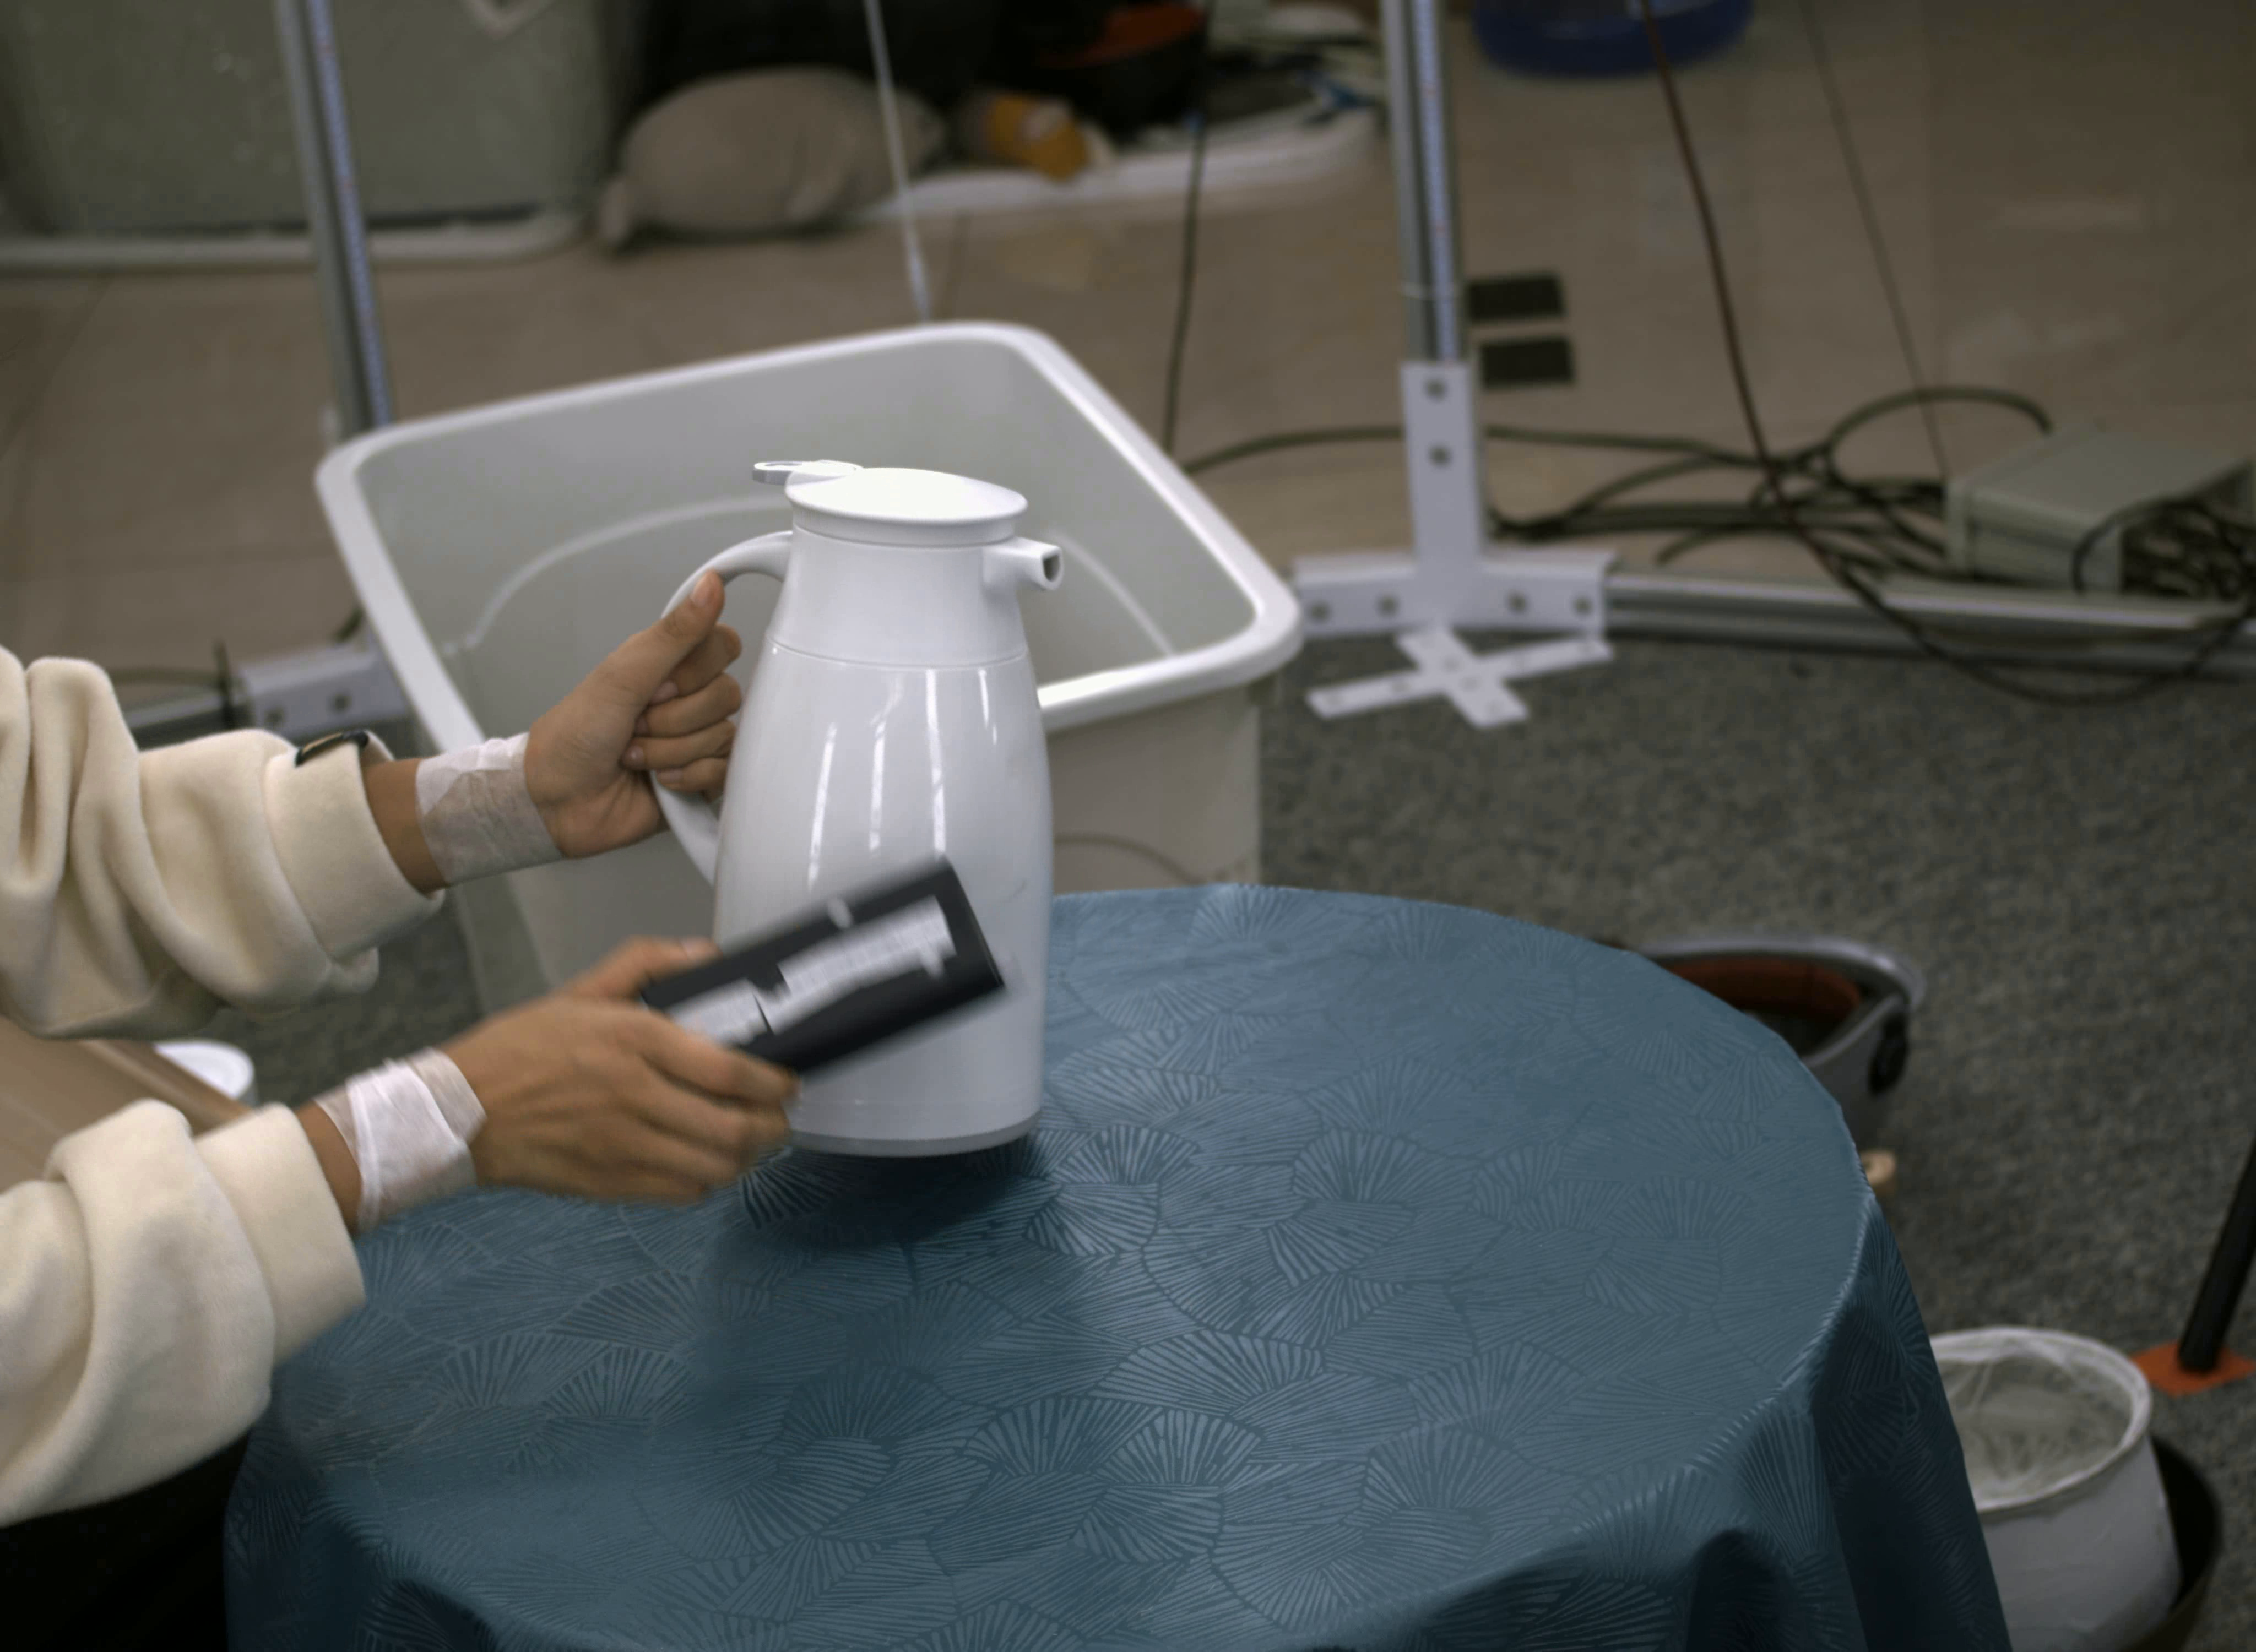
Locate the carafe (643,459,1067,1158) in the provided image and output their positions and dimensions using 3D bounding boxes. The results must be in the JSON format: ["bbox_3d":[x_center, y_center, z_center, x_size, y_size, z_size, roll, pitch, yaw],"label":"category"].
[{"bbox_3d":[-0.108,-0.014,2.157,0.167,0.251,0.131,9,17,20],"label":"carafe"}]

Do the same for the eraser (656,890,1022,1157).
[{"bbox_3d":[-0.103,0.071,2.041,0.125,0.031,0.053,-23,65,-1],"label":"eraser"}]
